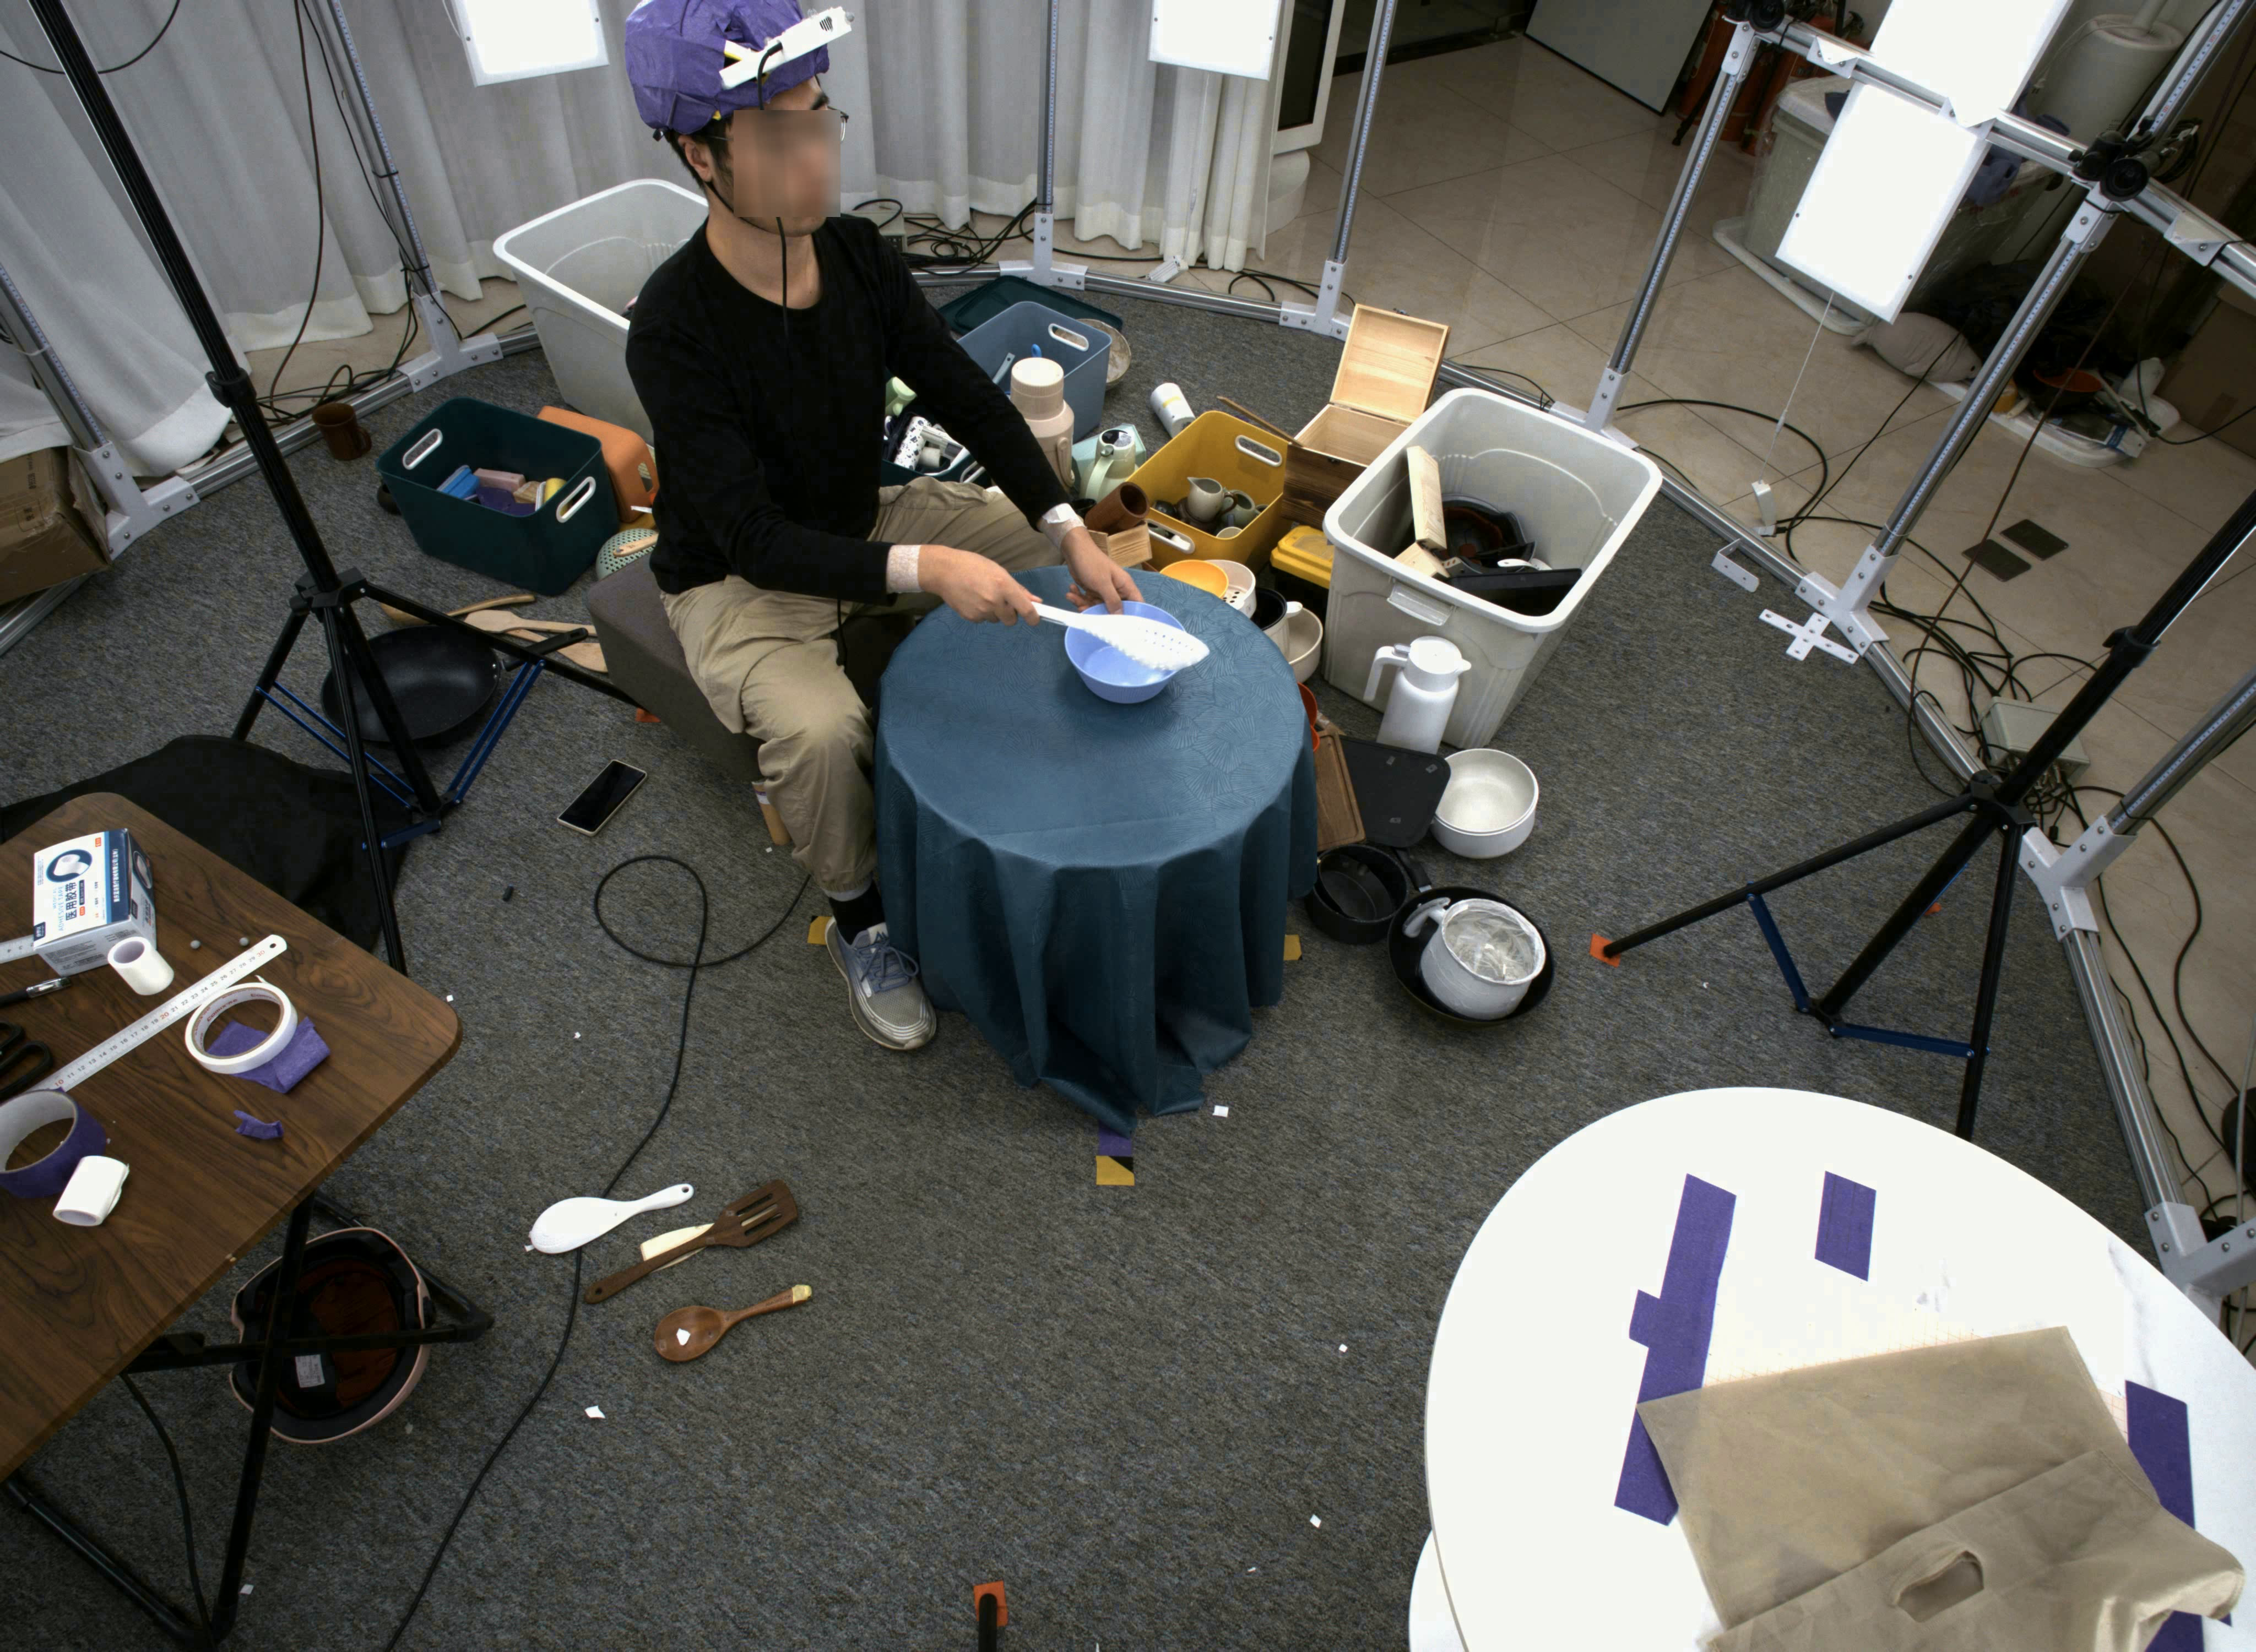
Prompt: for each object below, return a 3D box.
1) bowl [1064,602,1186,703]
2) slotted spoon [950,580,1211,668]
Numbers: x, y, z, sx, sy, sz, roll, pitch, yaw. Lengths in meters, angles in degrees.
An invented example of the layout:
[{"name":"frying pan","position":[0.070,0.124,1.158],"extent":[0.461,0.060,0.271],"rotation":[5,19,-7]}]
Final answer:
[{"name":"bowl","position":[-0.004,-0.239,1.832],"extent":[0.176,0.068,0.180],"rotation":[1,48,-2]},{"name":"slotted spoon","position":[-0.065,-0.264,1.638],"extent":[0.352,0.134,0.046],"rotation":[21,85,14]}]
